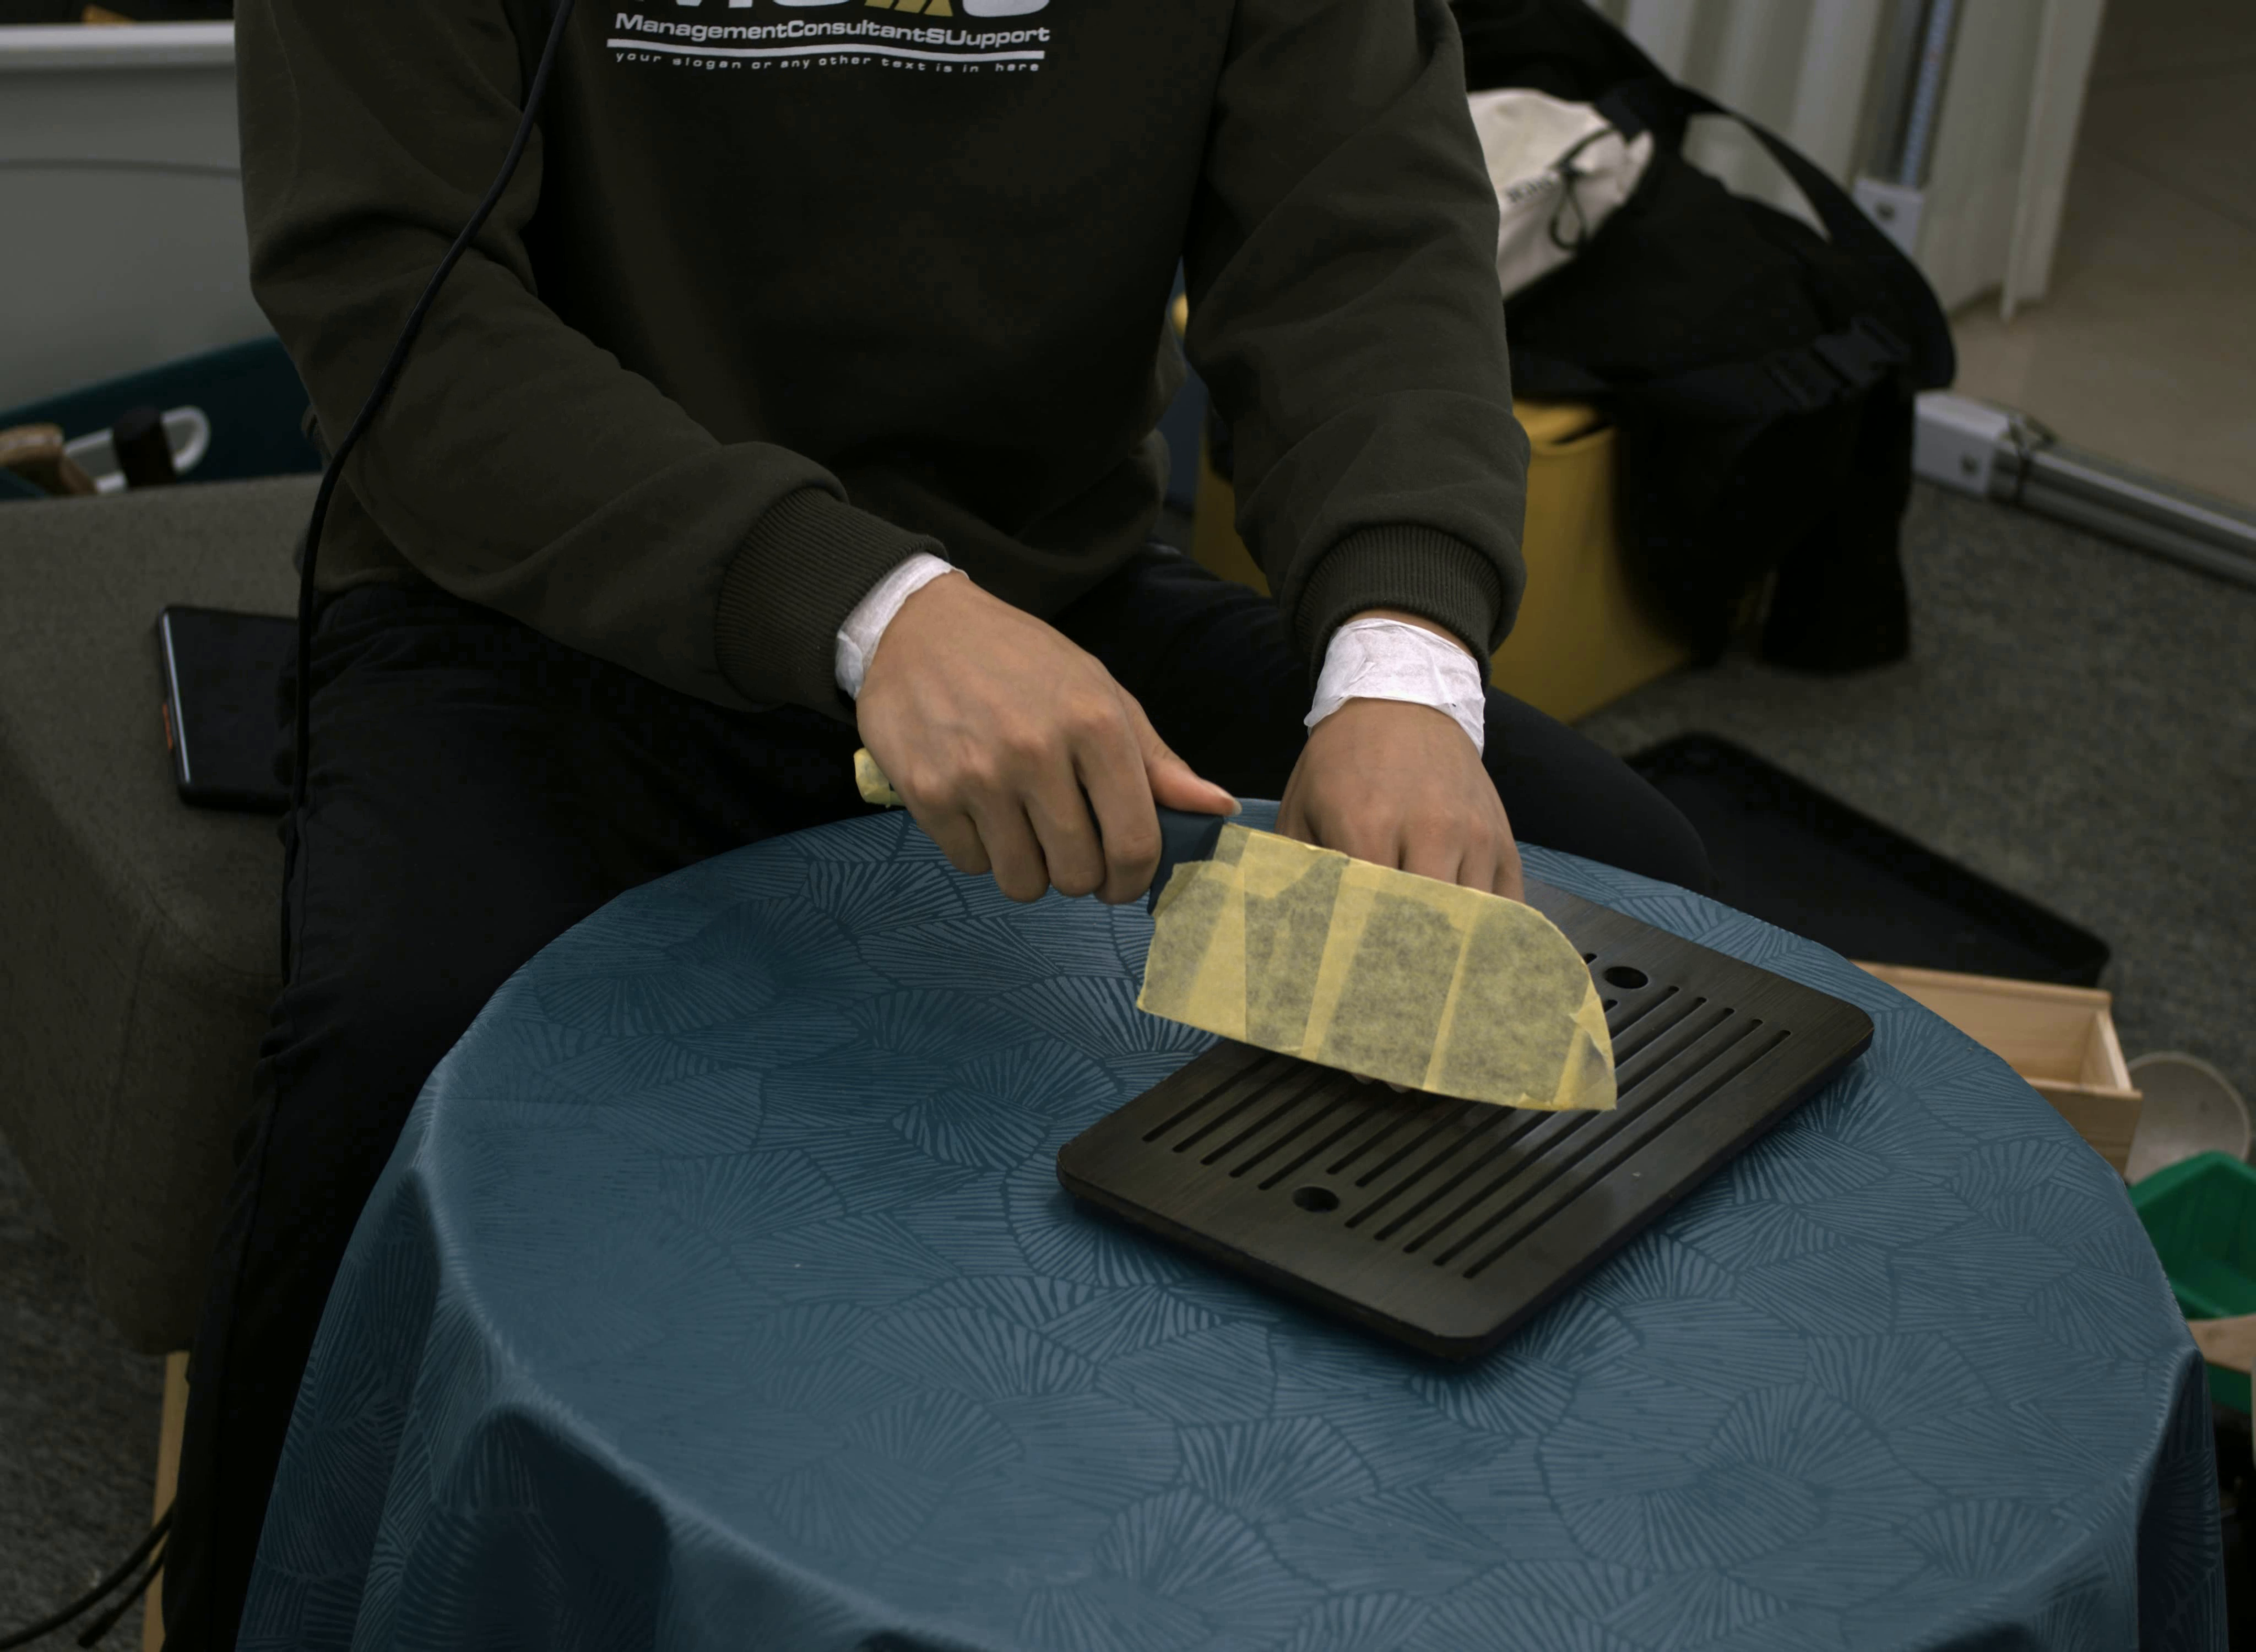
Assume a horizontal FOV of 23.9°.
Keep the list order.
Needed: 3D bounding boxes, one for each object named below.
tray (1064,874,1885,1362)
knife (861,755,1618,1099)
[{"bbox_3d":[0.126,0.099,1.863,0.171,0.018,0.305,21,30,28],"label":"tray"},{"bbox_3d":[0.035,0.034,1.863,0.290,0.081,0.027,18,0,16],"label":"knife"}]
